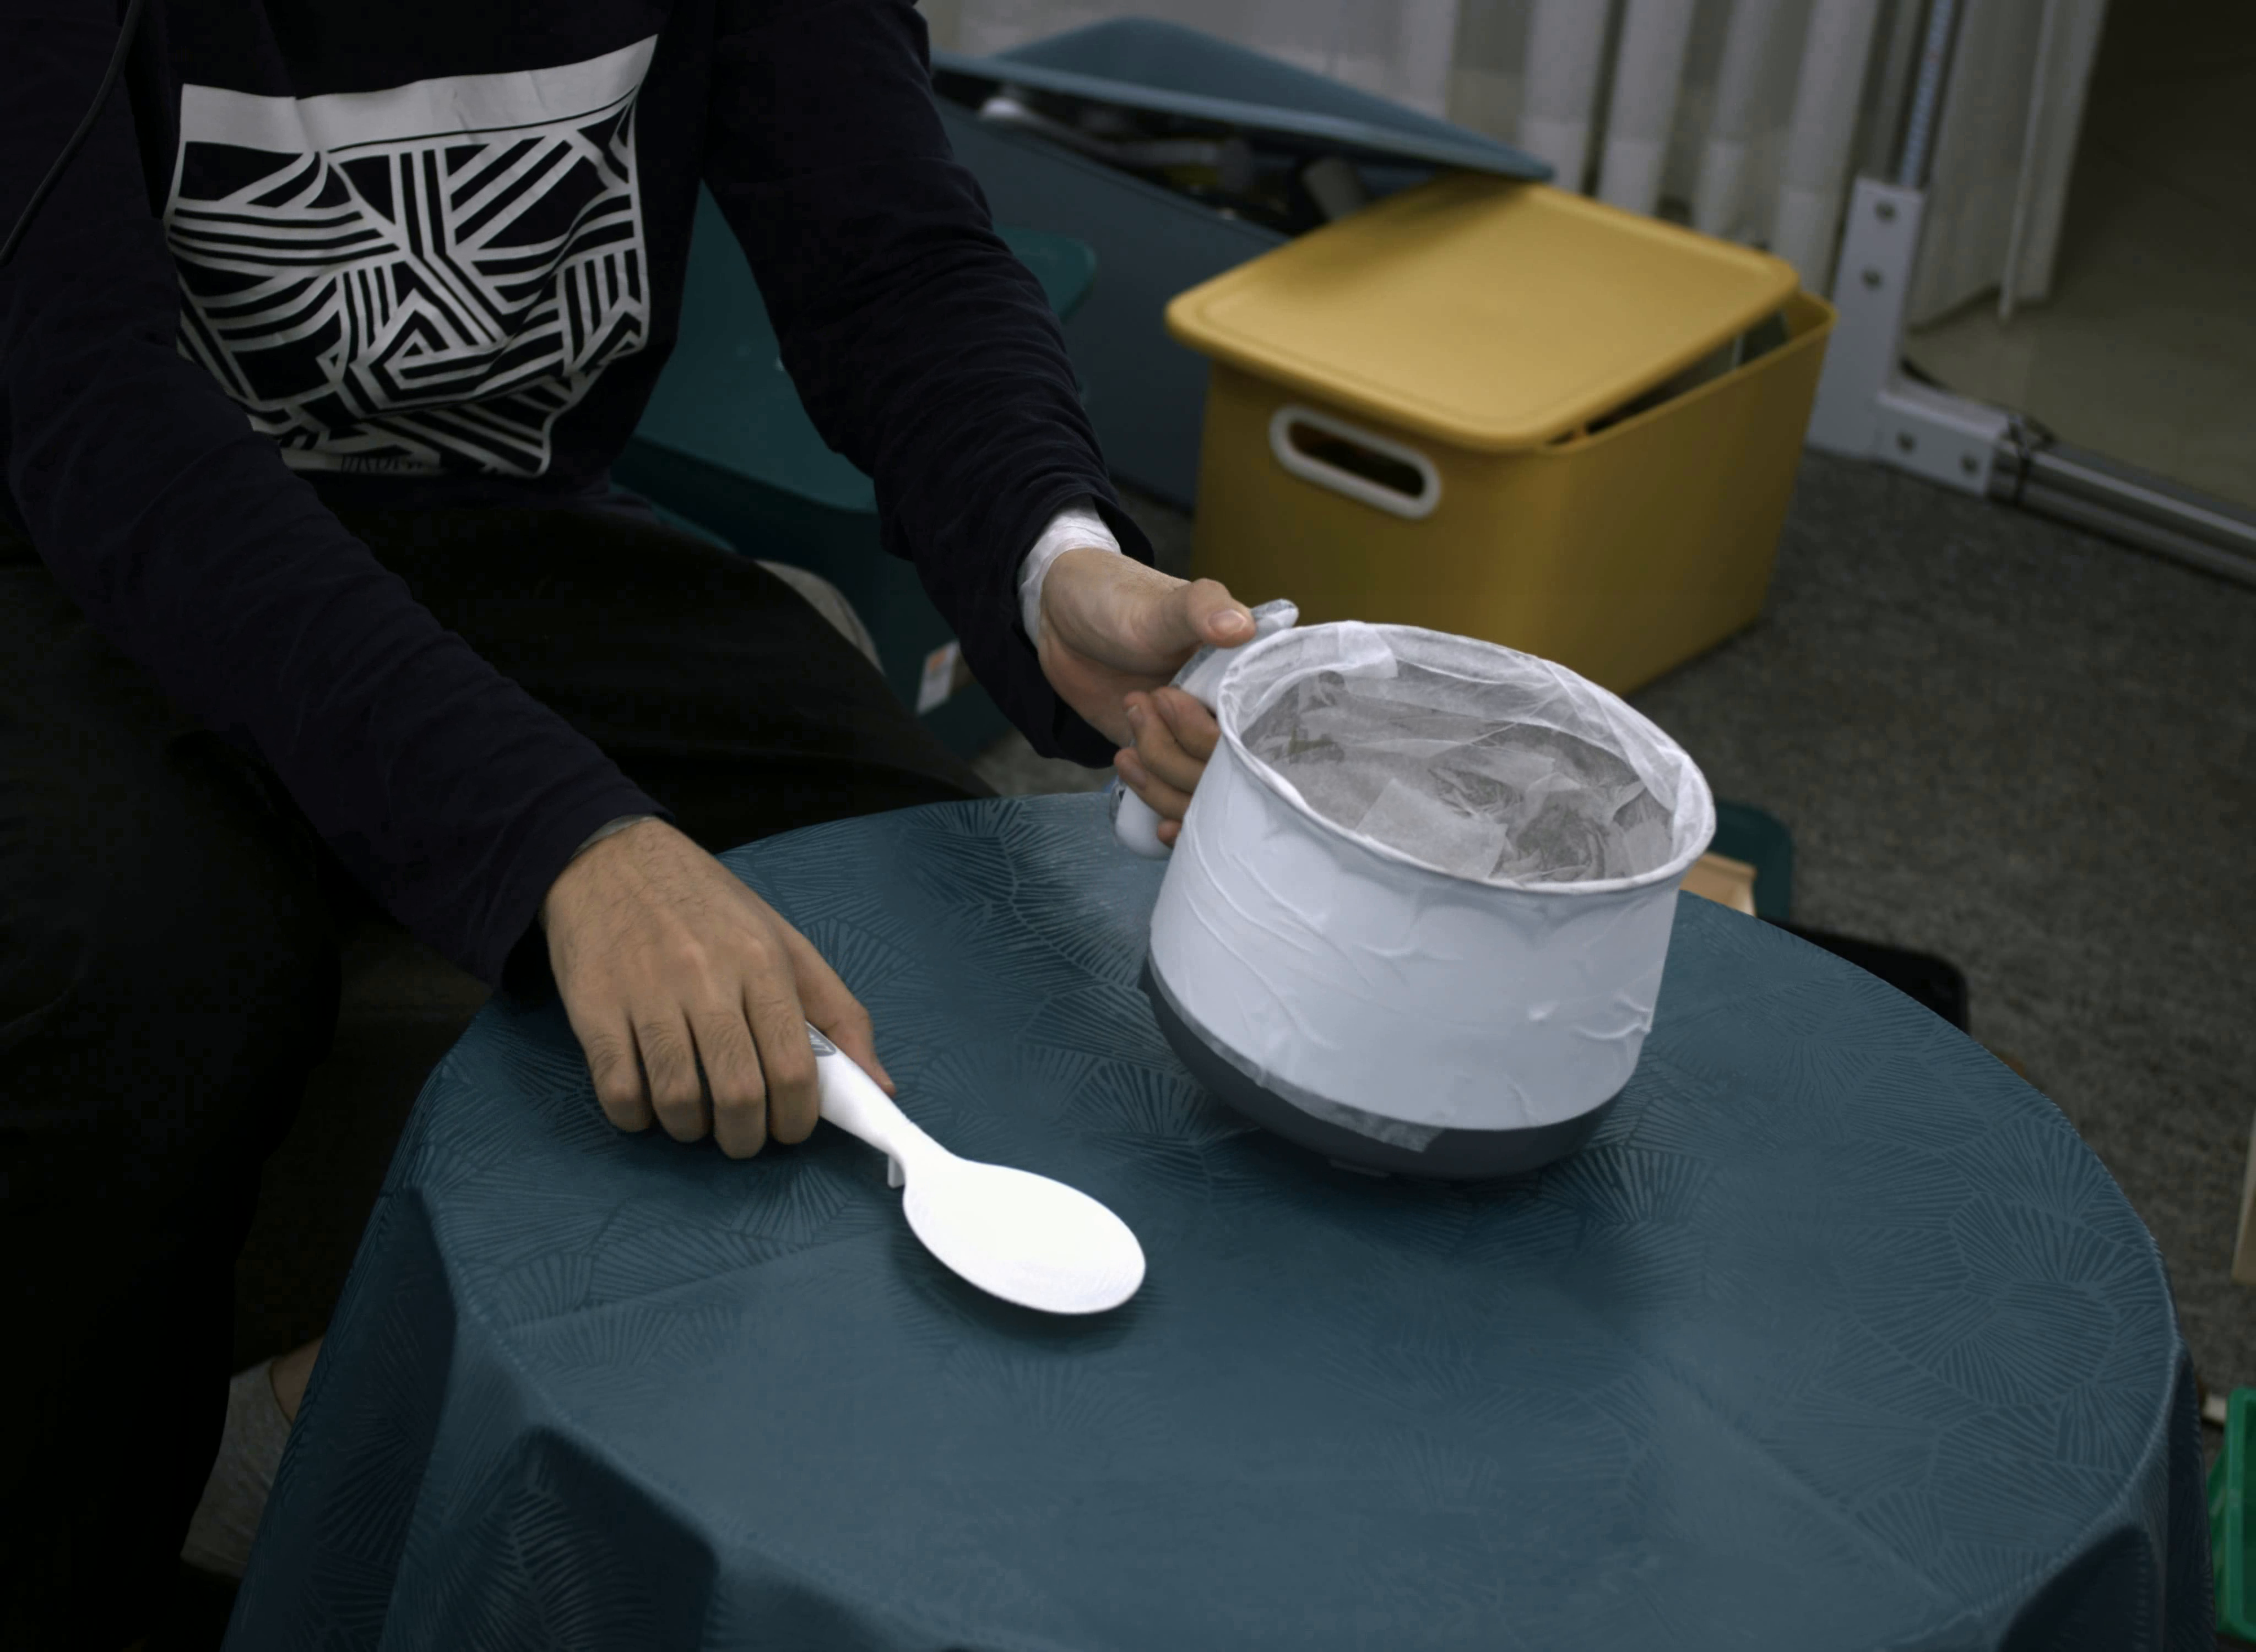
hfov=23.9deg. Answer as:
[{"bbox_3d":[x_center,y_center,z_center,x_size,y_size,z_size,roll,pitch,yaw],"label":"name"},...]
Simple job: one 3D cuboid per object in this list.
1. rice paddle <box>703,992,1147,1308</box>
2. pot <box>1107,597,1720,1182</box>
[{"bbox_3d":[-0.070,0.111,1.785,0.068,0.029,0.207,-17,34,-36],"label":"rice paddle"},{"bbox_3d":[0.084,0.015,1.862,0.177,0.136,0.235,-11,38,-43],"label":"pot"}]
